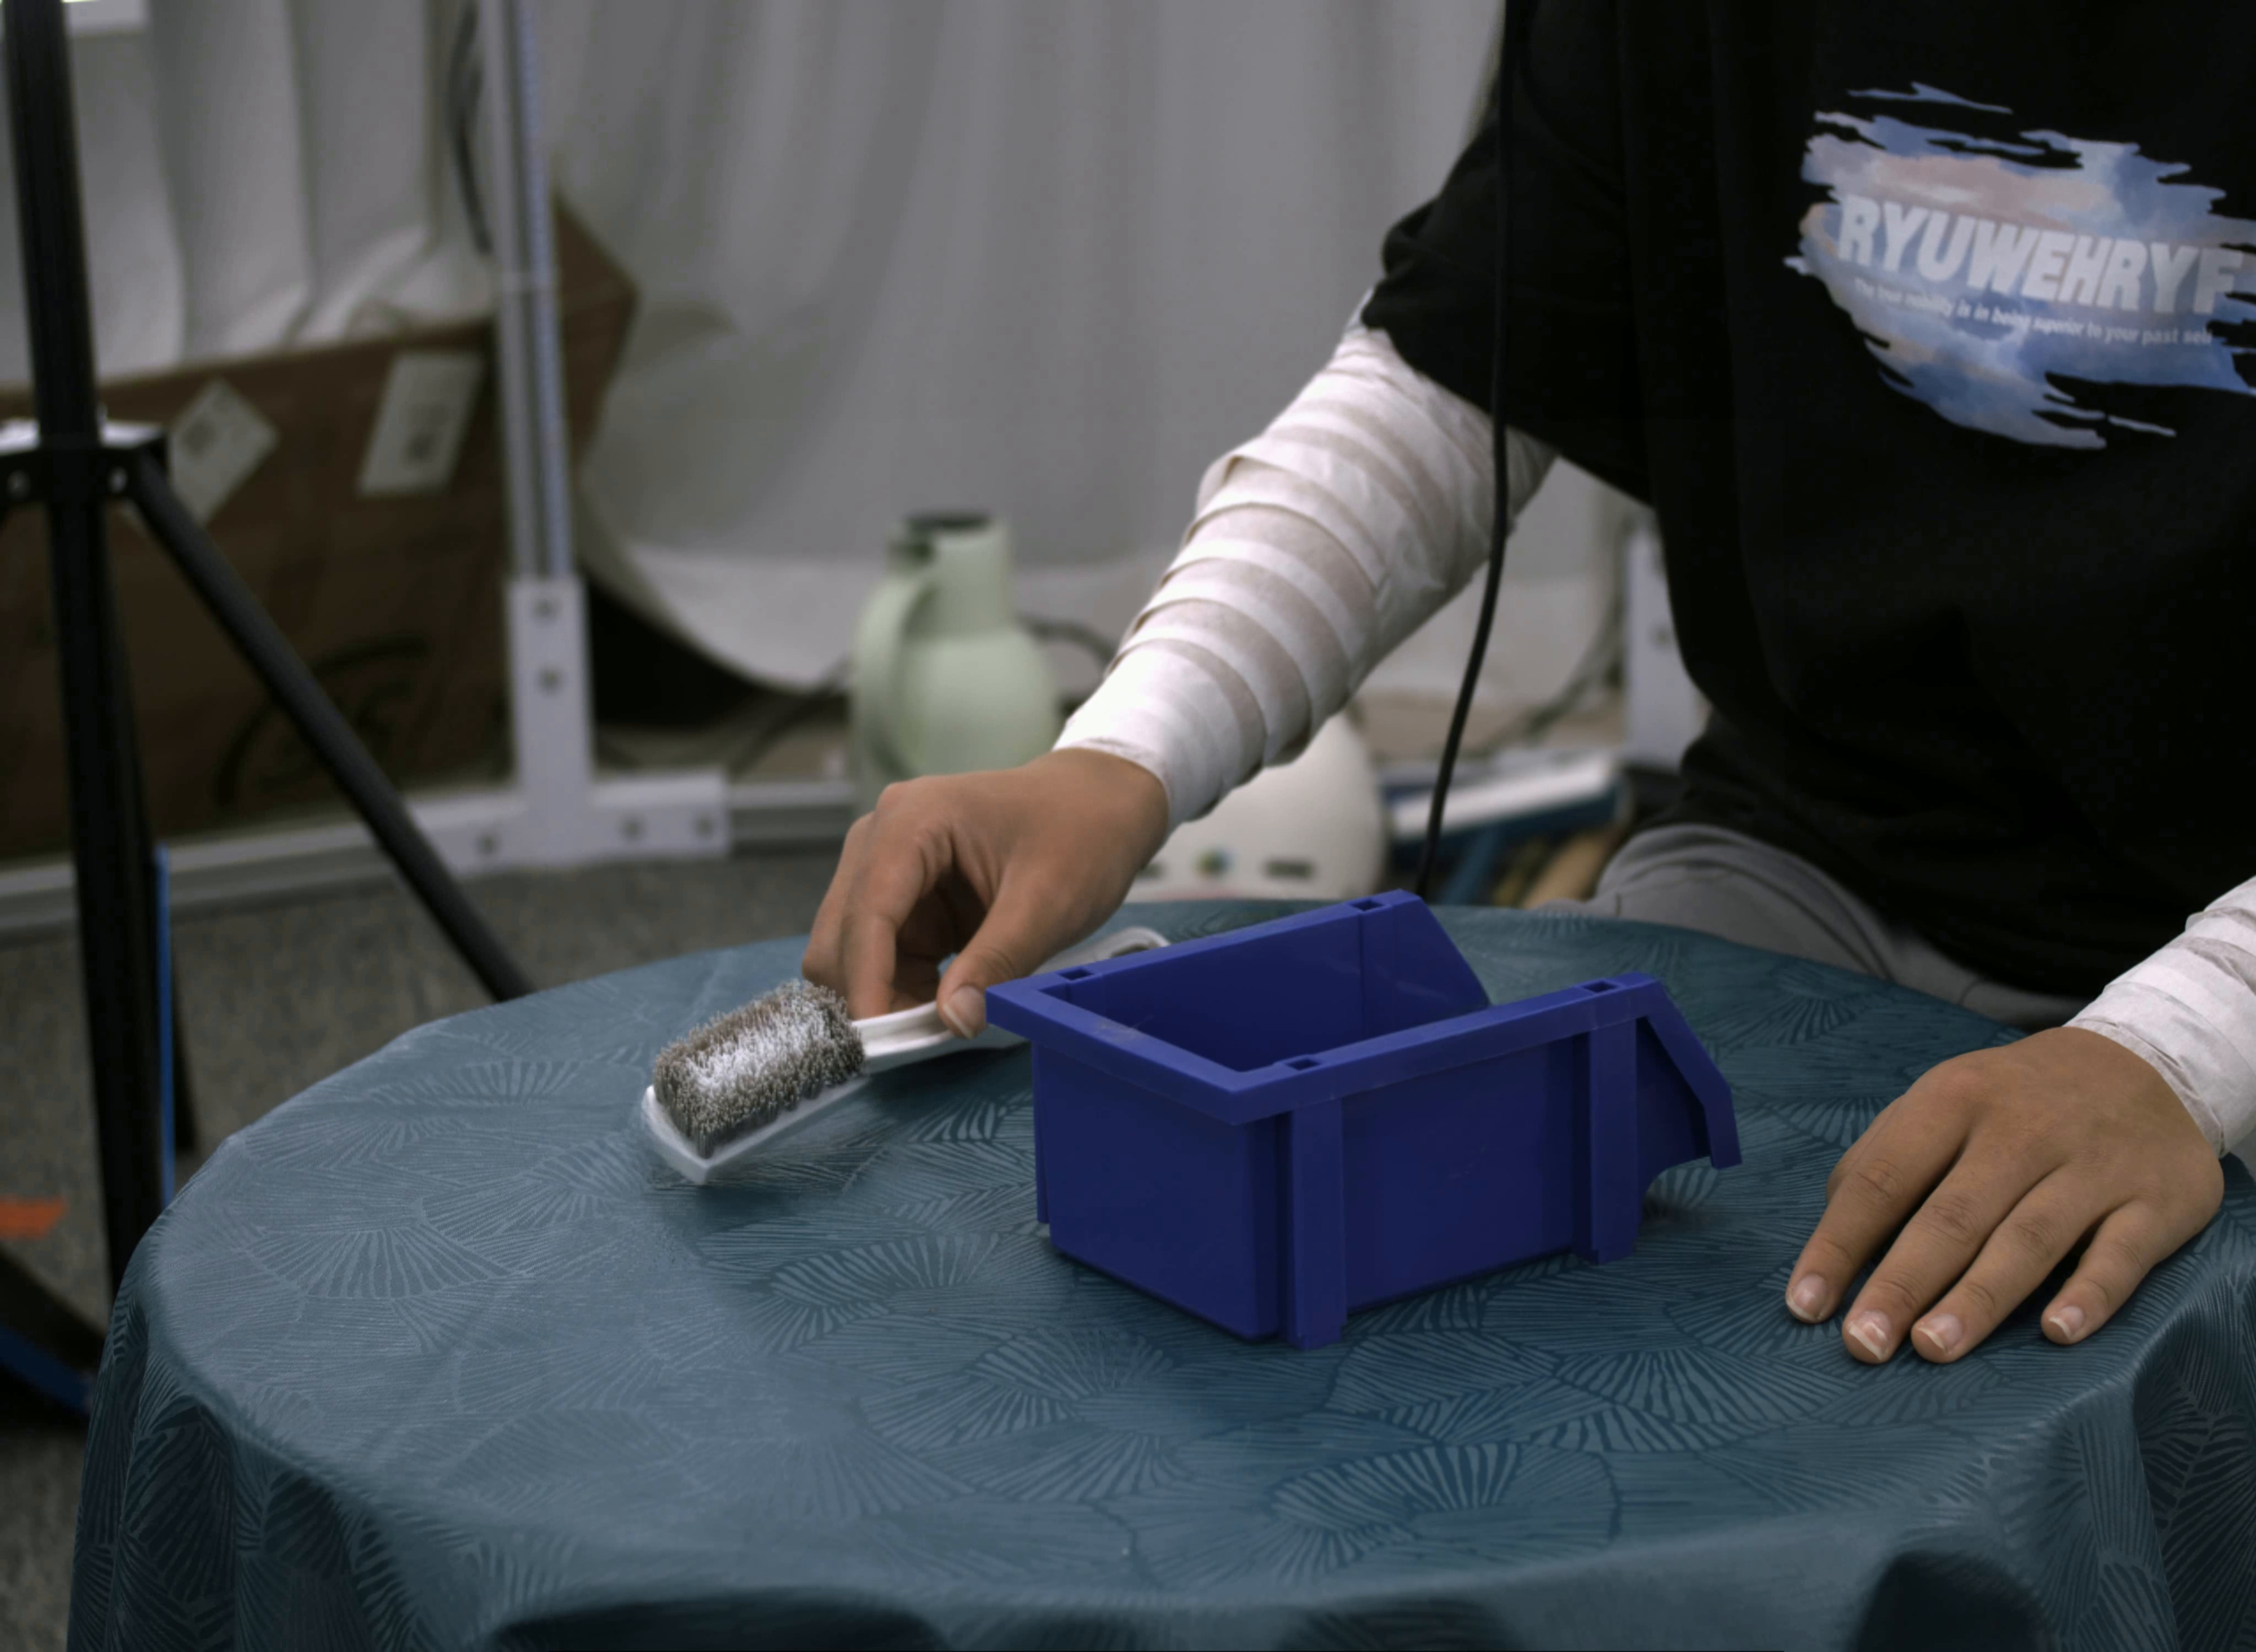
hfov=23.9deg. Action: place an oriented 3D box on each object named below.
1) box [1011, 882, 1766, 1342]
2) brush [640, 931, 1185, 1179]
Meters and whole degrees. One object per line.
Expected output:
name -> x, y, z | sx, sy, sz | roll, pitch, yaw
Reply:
box -> 0.074, 0.077, 1.509 | 0.175, 0.082, 0.127 | -13, 18, -30
brush -> -0.056, 0.056, 1.648 | 0.238, 0.050, 0.035 | -18, 62, -44
